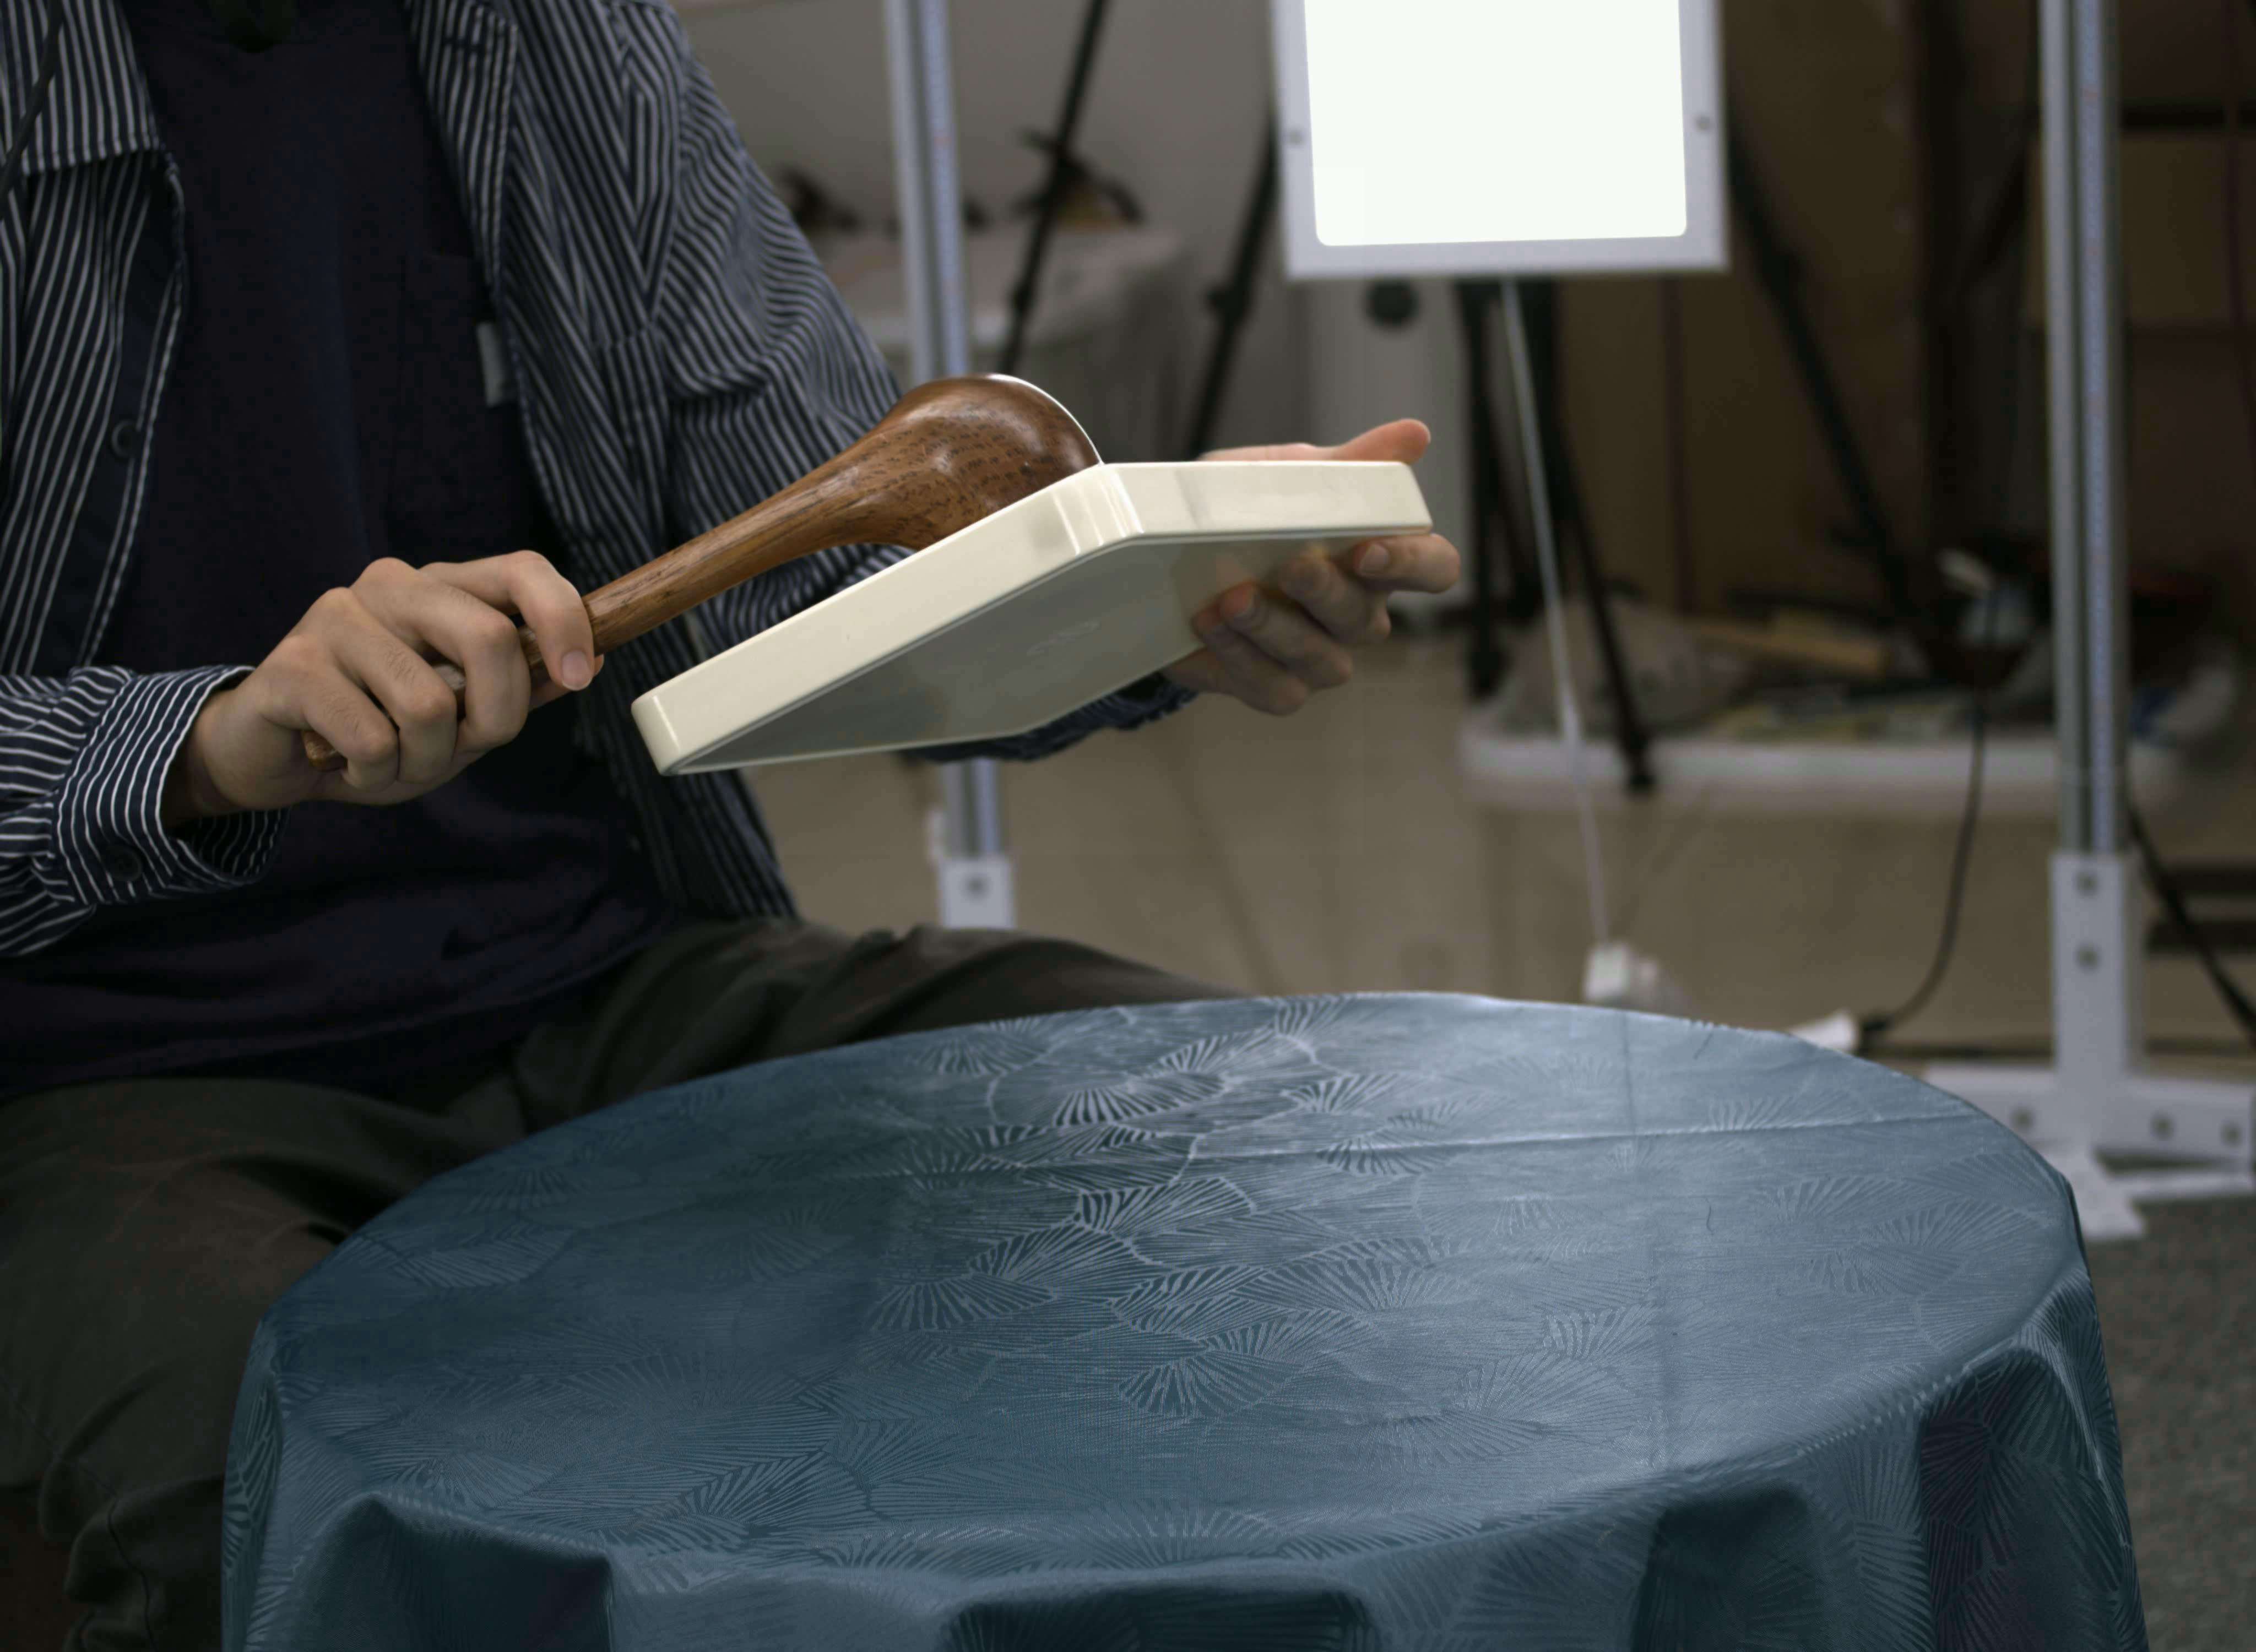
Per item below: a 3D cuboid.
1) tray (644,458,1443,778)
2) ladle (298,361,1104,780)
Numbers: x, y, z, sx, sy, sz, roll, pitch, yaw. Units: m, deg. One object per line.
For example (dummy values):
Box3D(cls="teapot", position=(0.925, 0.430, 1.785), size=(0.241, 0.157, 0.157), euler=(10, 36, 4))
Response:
Box3D(cls="tray", position=(-0.022, -0.073, 1.885), size=(0.195, 0.027, 0.294), euler=(-26, -7, 24))
Box3D(cls="ladle", position=(-0.138, -0.072, 1.807), size=(0.276, 0.082, 0.075), euler=(-26, -35, 12))
